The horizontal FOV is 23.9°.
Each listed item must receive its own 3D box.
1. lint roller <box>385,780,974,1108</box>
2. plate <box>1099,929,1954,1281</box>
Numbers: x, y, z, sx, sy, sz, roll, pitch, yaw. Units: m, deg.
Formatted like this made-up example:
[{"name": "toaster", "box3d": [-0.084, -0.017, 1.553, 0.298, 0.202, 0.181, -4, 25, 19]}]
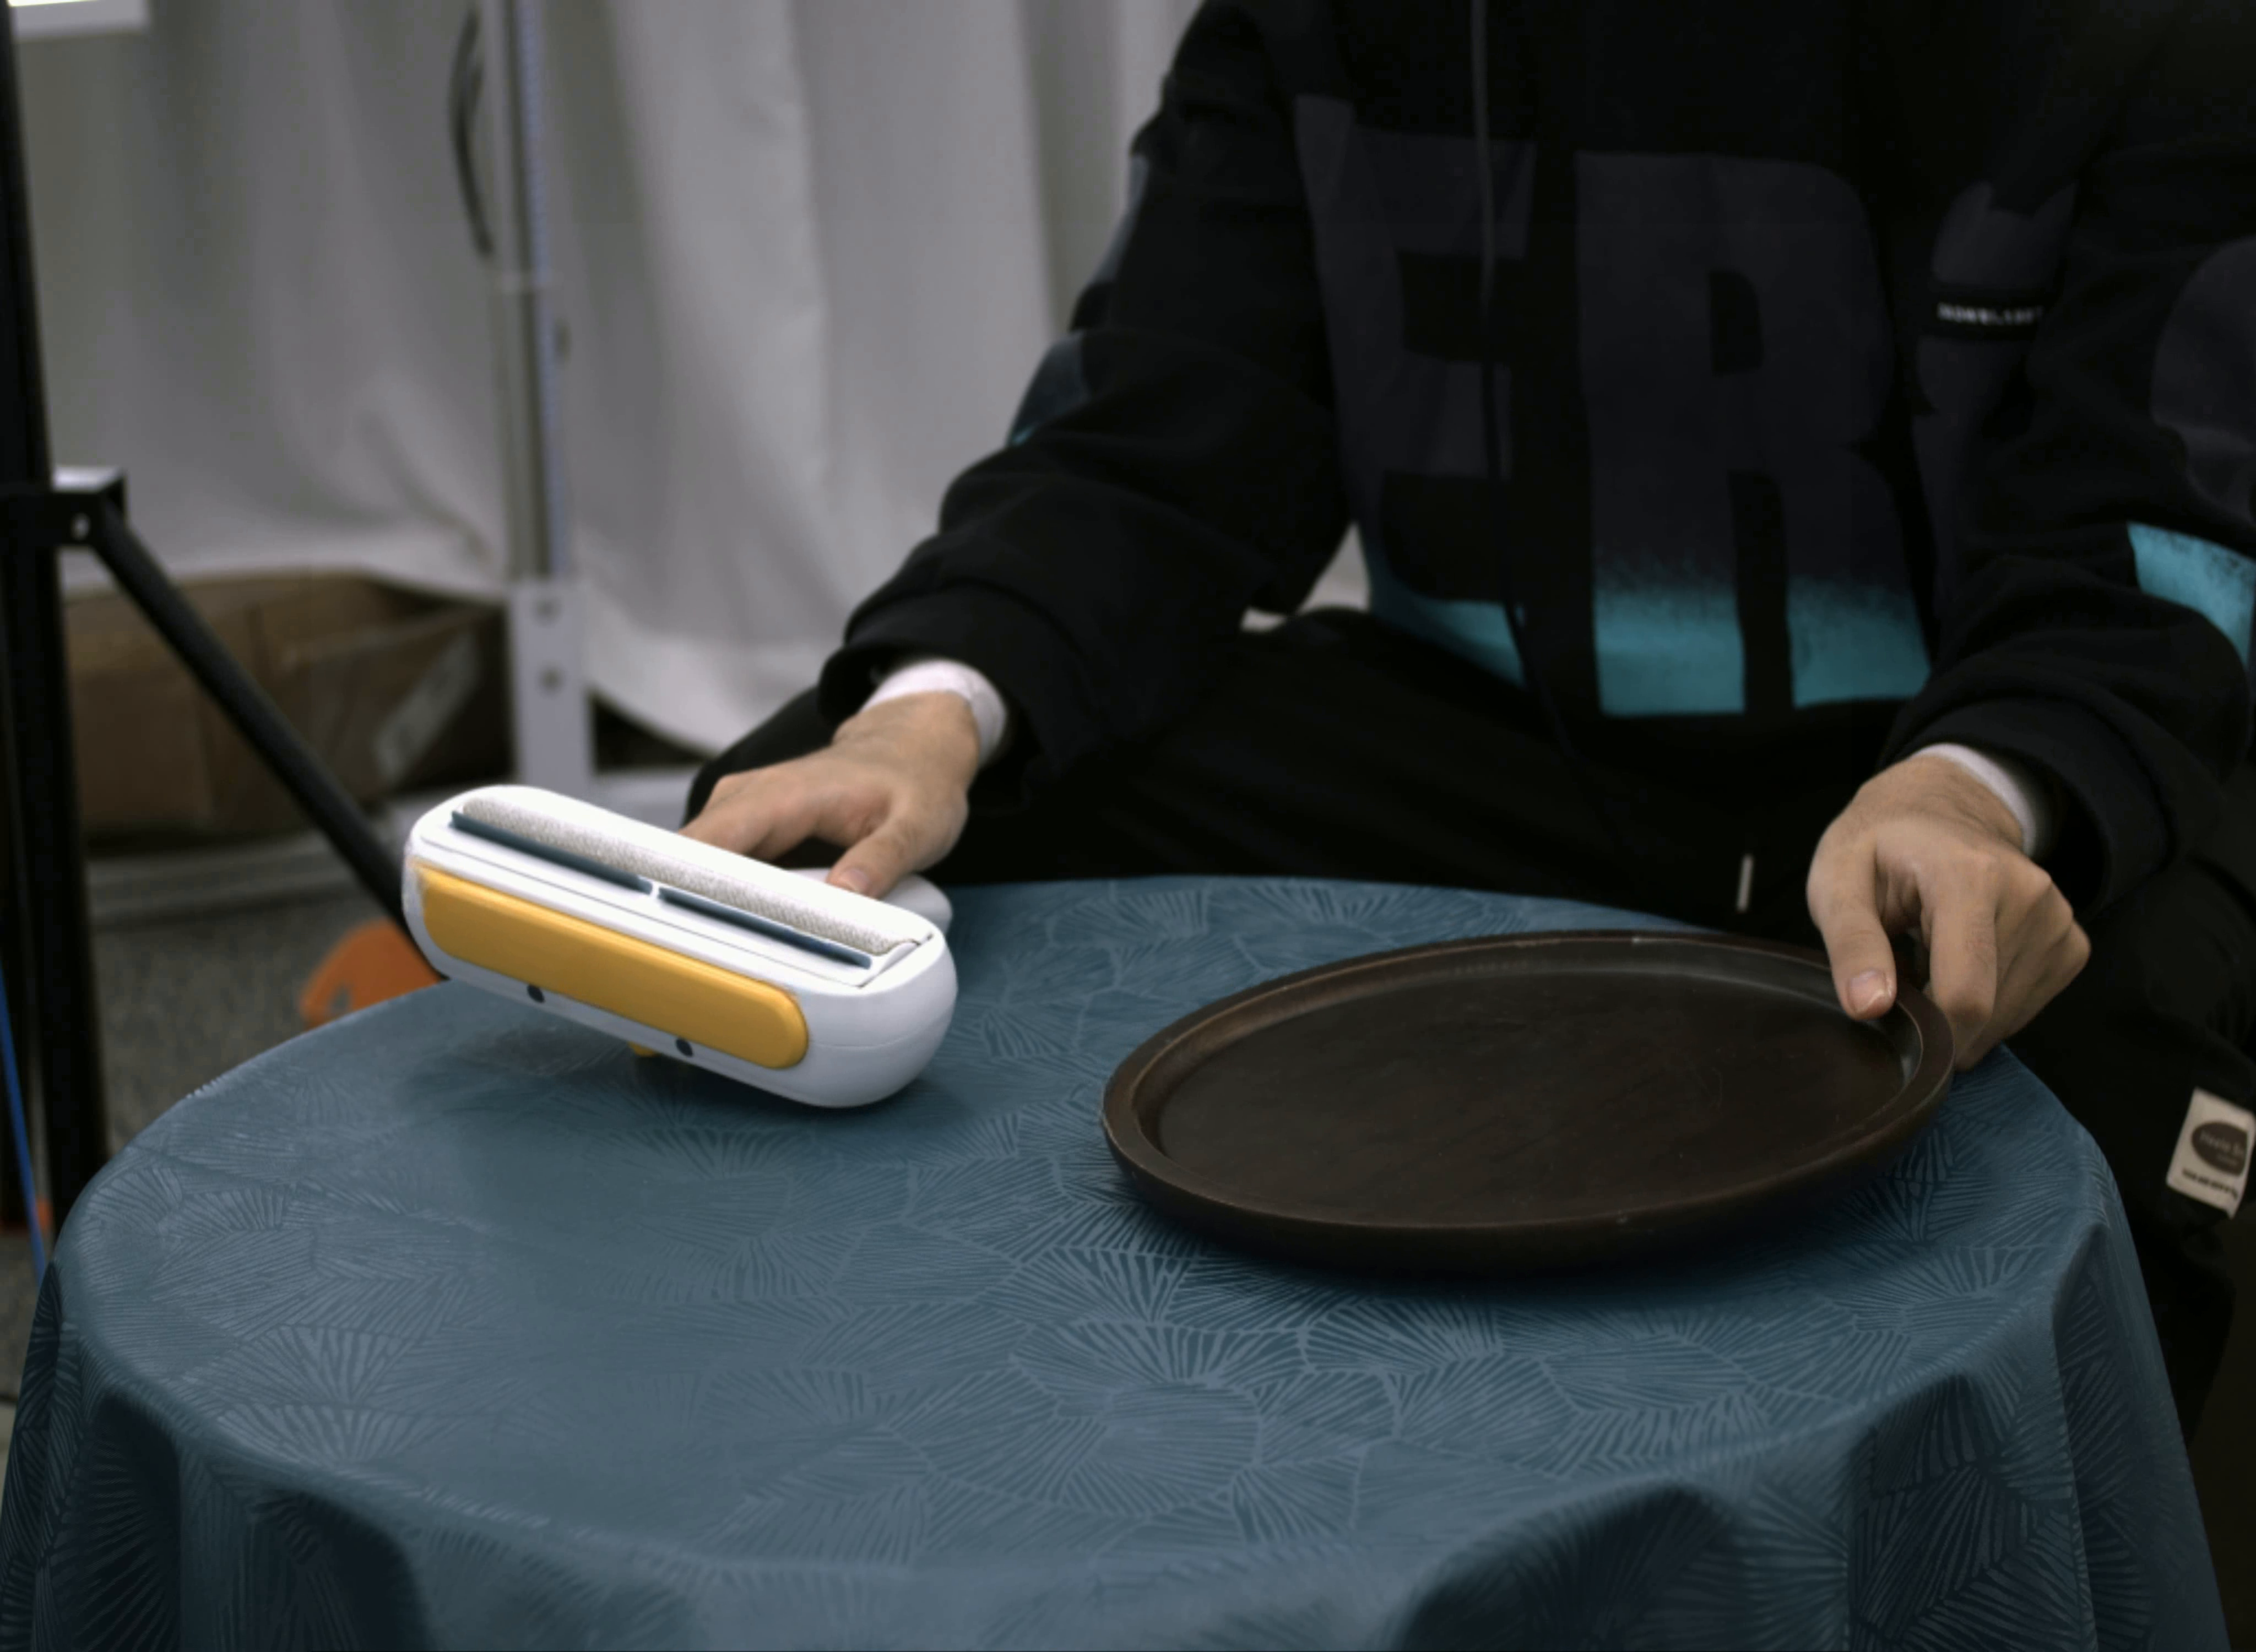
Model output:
[{"name": "lint roller", "box3d": [-0.117, 0.030, 1.732, 0.197, 0.074, 0.188, 15, 21, 33]}, {"name": "plate", "box3d": [0.117, 0.081, 1.564, 0.254, 0.029, 0.256, -7, 15, 1]}]
